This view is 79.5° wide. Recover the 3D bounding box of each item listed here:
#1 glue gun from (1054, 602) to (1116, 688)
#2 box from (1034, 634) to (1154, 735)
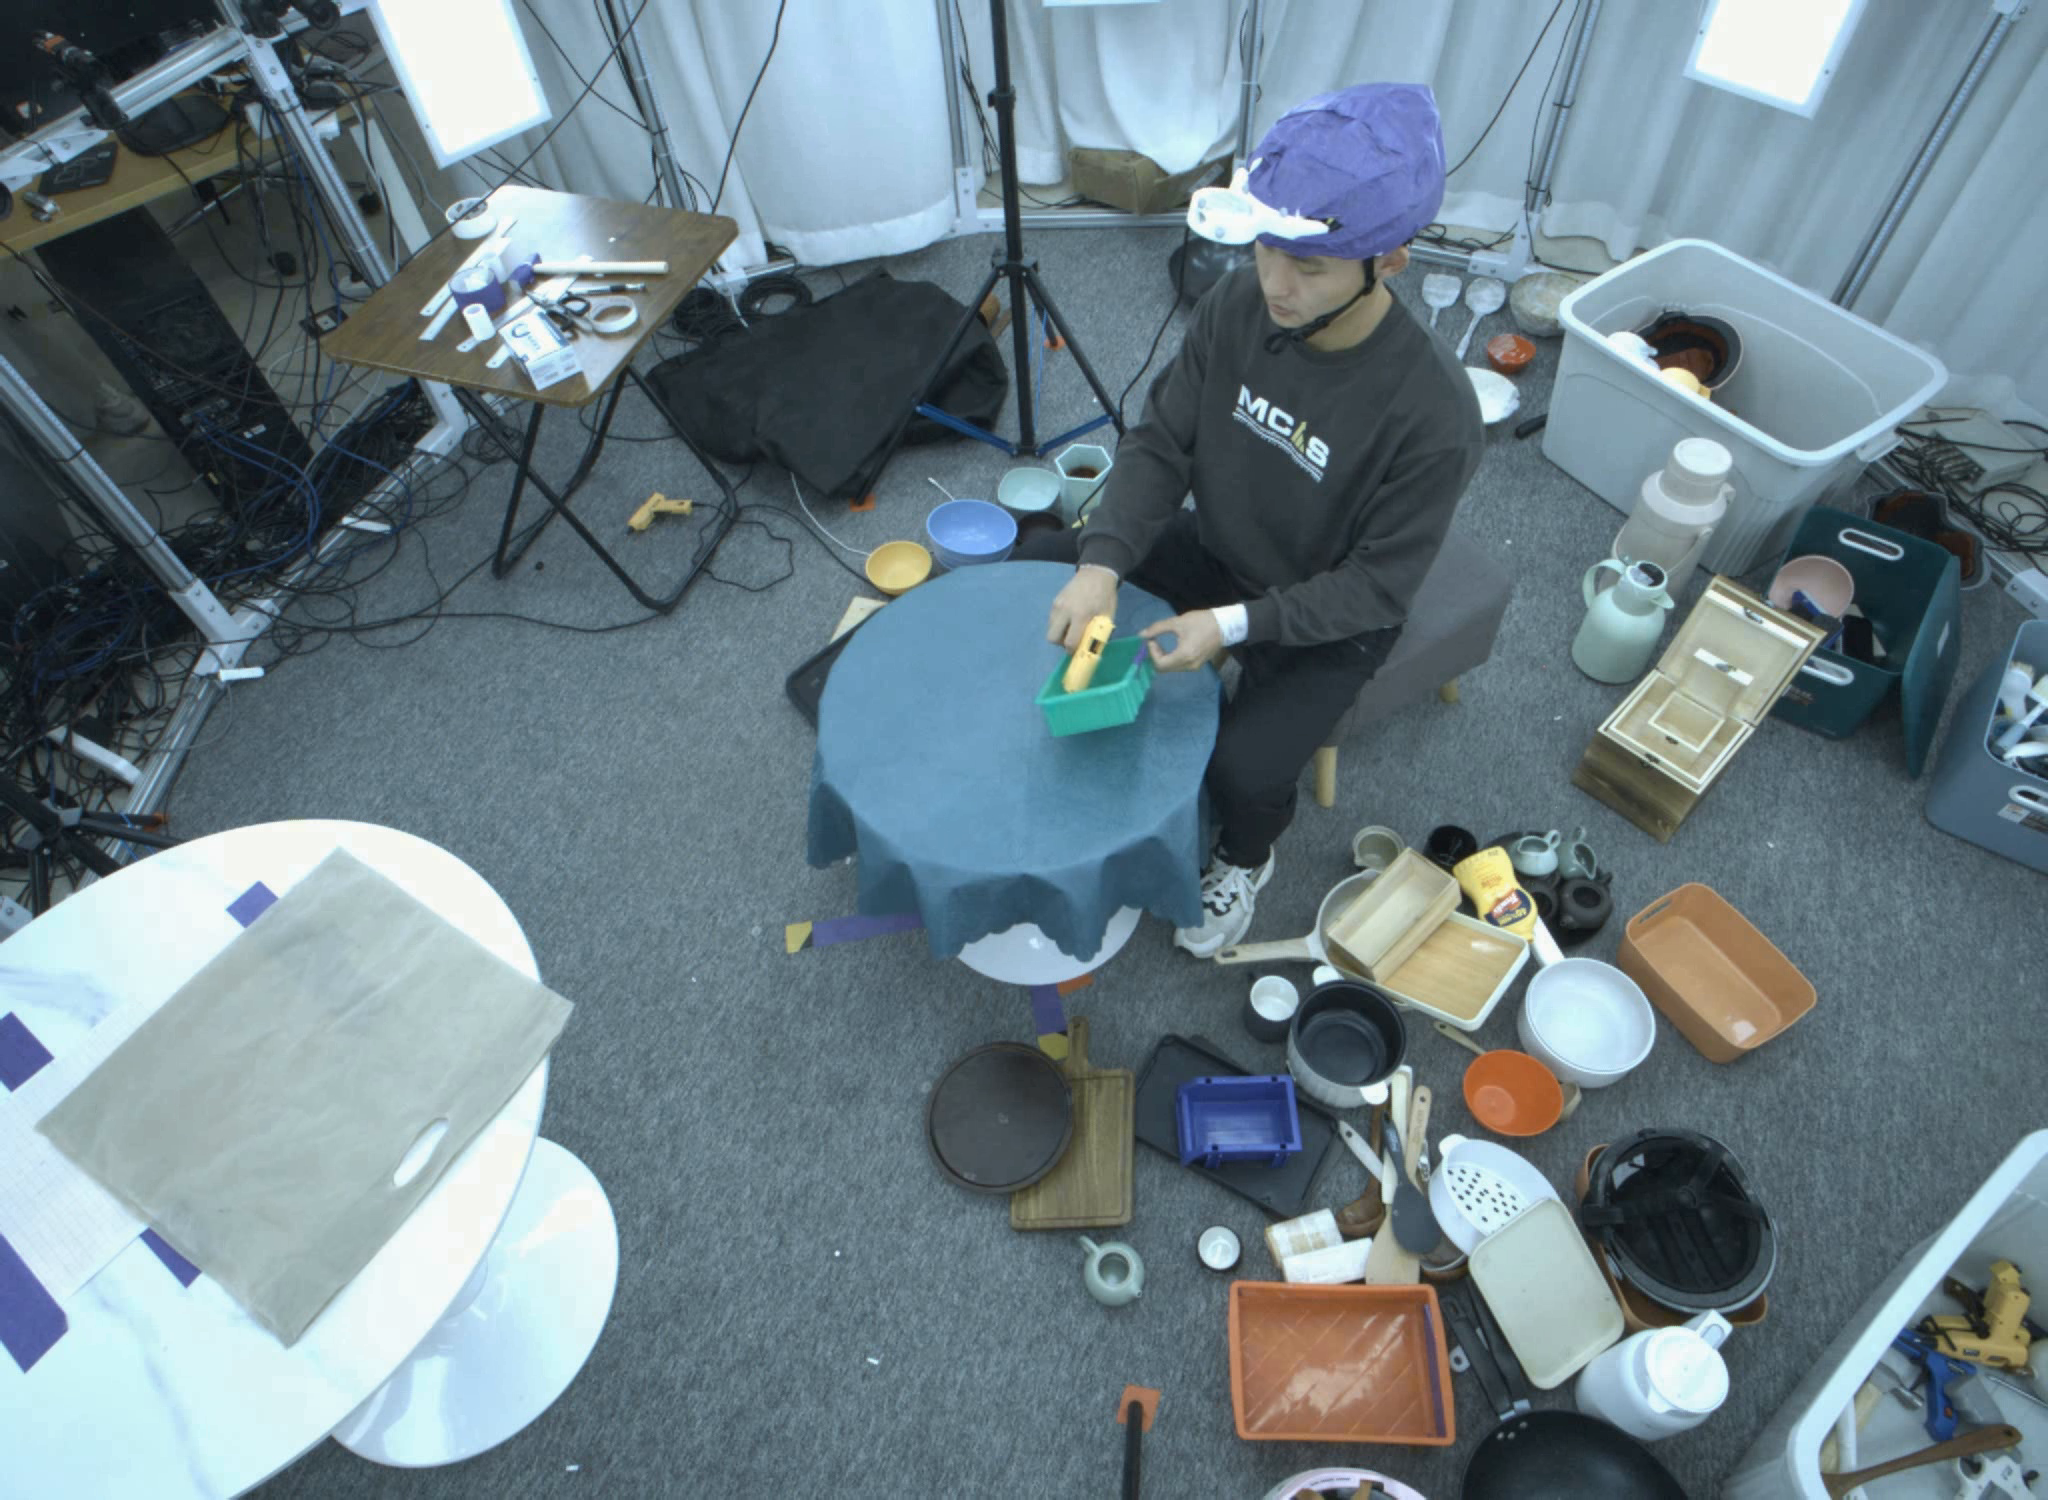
[{"bbox_3d":[0.066,-0.131,1.770,0.032,0.151,0.130,17,10,-33],"label":"glue gun"},{"bbox_3d":[0.107,-0.093,1.746,0.137,0.066,0.210,-9,21,18],"label":"box"}]
